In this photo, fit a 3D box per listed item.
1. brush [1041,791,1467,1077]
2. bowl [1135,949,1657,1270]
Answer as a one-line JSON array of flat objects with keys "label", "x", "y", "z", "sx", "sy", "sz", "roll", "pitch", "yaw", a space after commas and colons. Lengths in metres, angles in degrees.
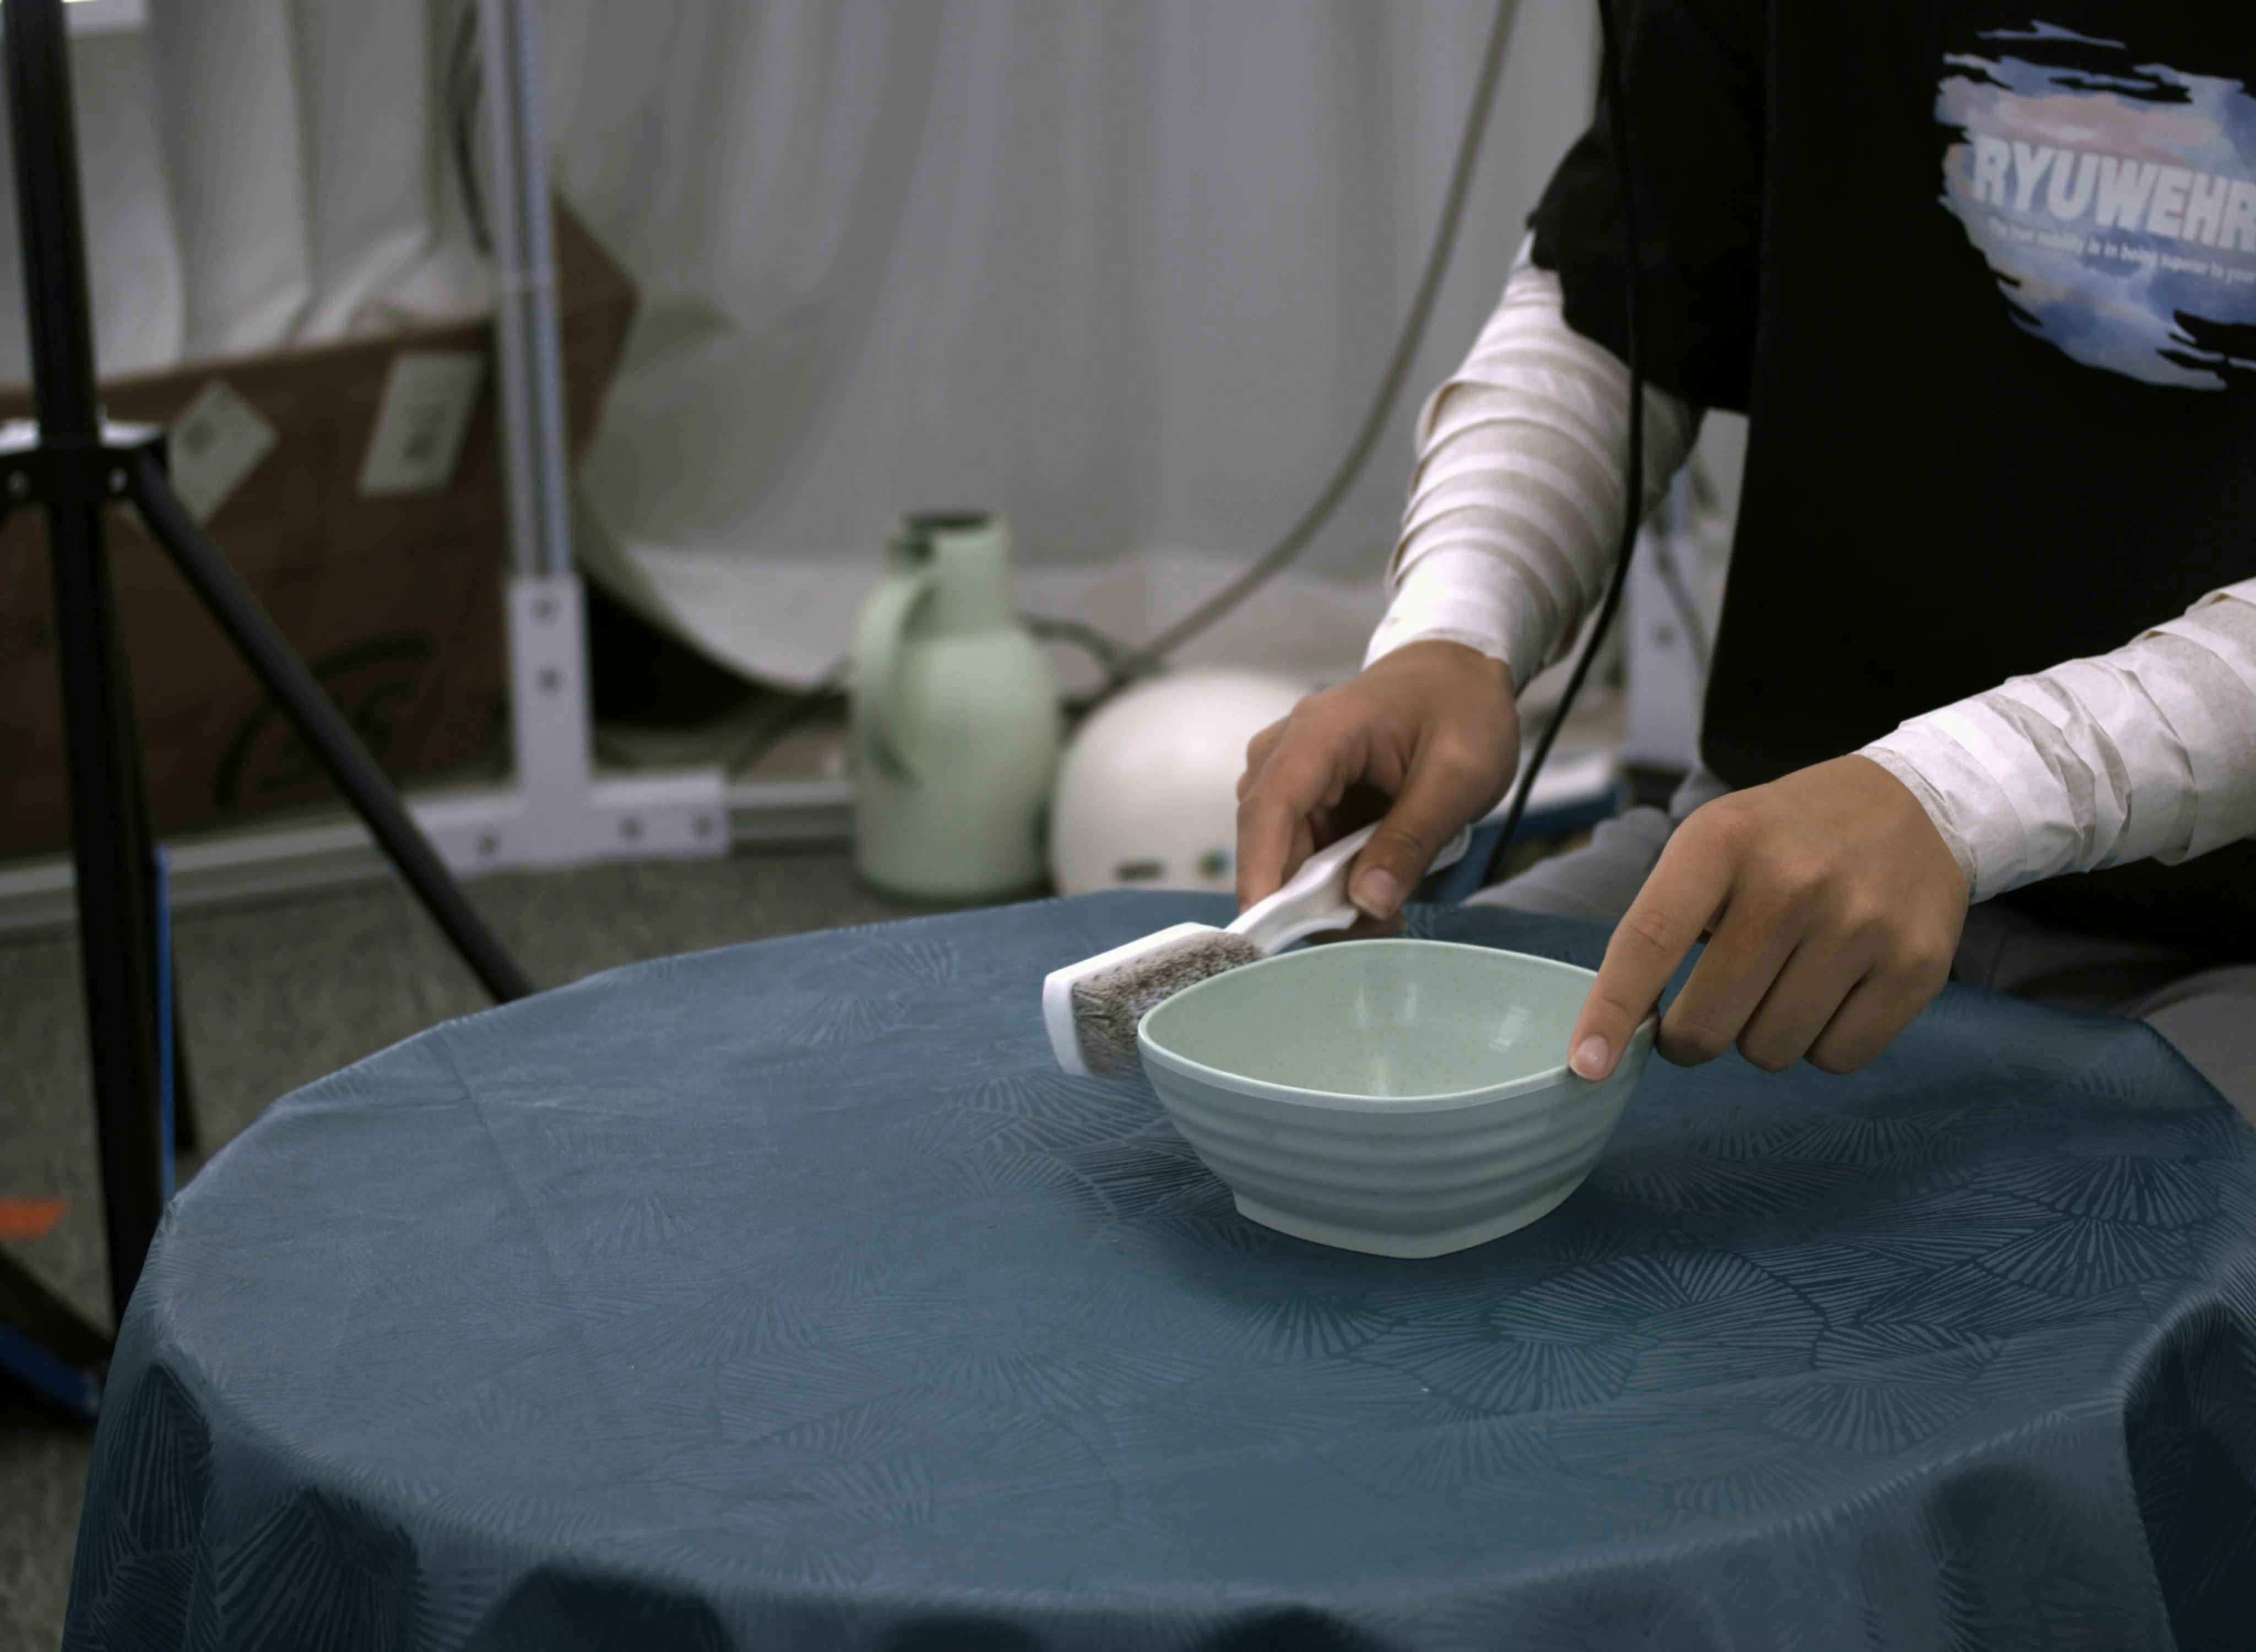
[{"label": "brush", "x": 0.057, "y": 0.030, "z": 1.653, "sx": 0.051, "sy": 0.034, "sz": 0.239, "roll": 3, "pitch": 17, "yaw": 36}, {"label": "bowl", "x": 0.077, "y": 0.085, "z": 1.535, "sx": 0.150, "sy": 0.058, "sz": 0.152, "roll": -1, "pitch": 15, "yaw": -1}]
